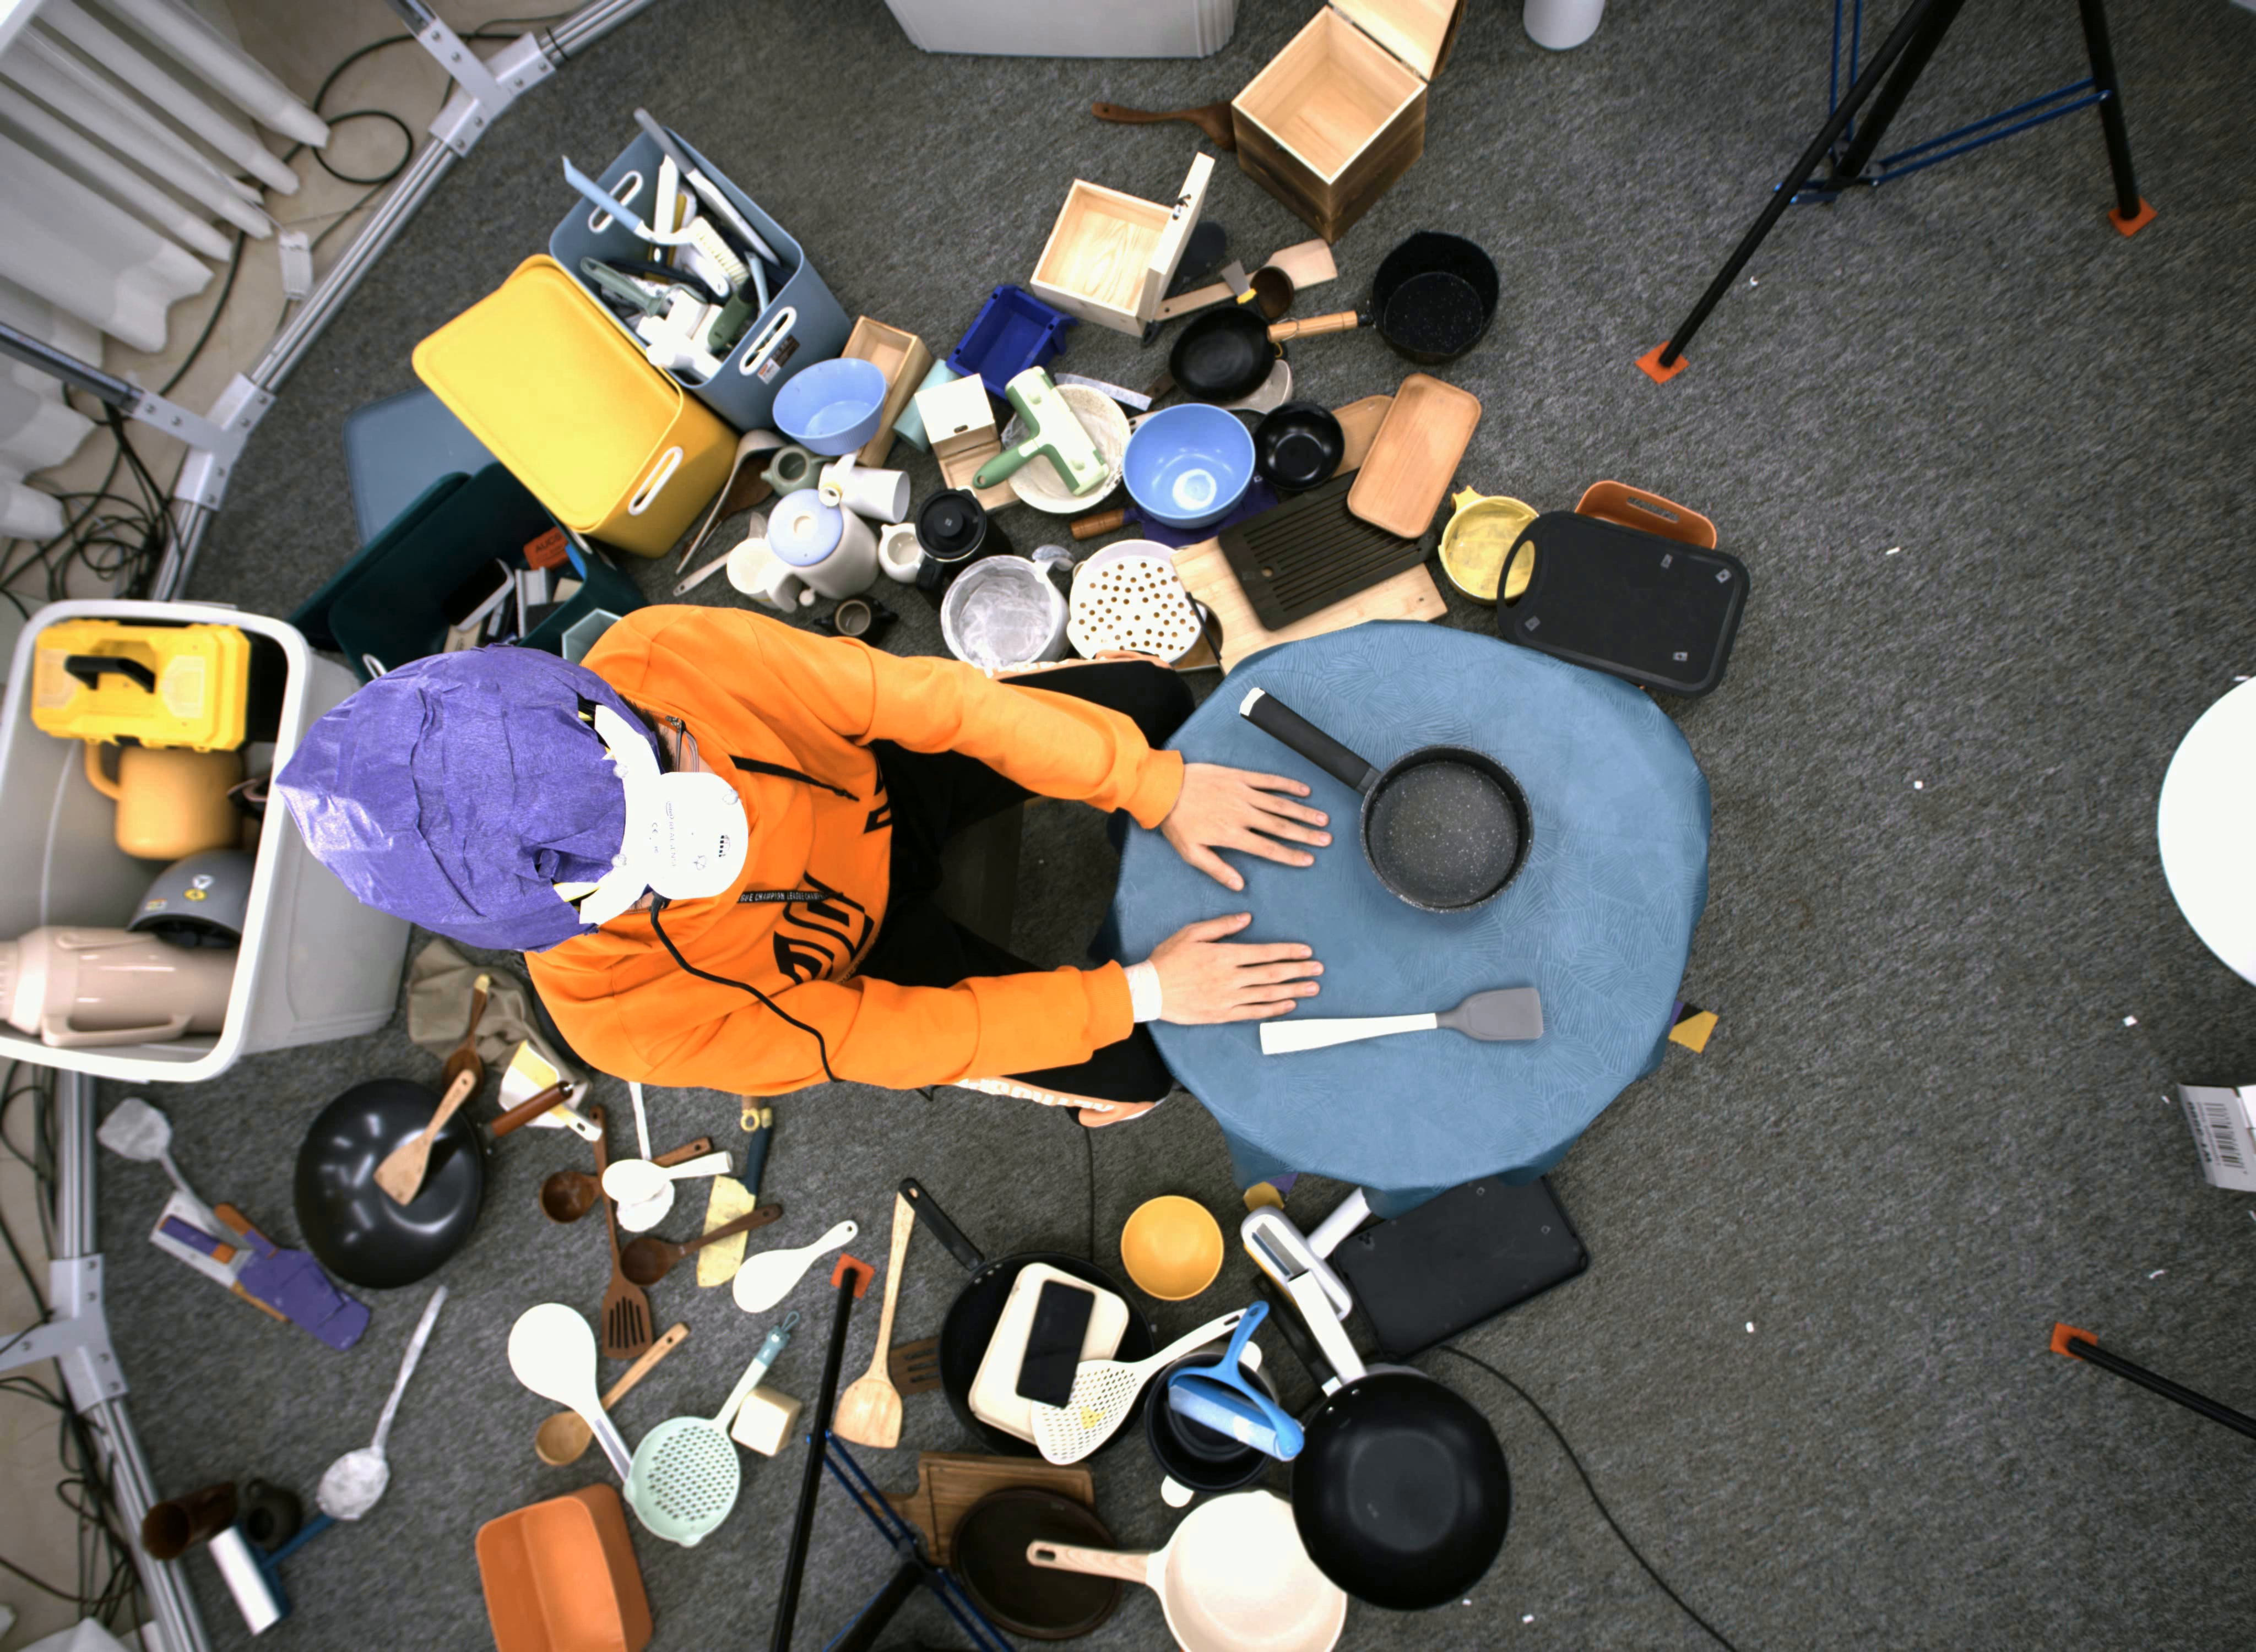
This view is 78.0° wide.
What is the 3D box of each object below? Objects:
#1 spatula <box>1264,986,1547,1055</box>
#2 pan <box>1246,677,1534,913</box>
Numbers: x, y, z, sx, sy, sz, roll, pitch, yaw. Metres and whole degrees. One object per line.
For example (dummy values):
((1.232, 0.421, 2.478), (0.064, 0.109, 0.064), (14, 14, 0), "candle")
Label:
((0.285, 0.205, 1.434), (0.289, 0.032, 0.058), (-7, 82, 11), "spatula")
((0.262, -0.042, 1.425), (0.328, 0.086, 0.172), (37, 92, 9), "pan")
